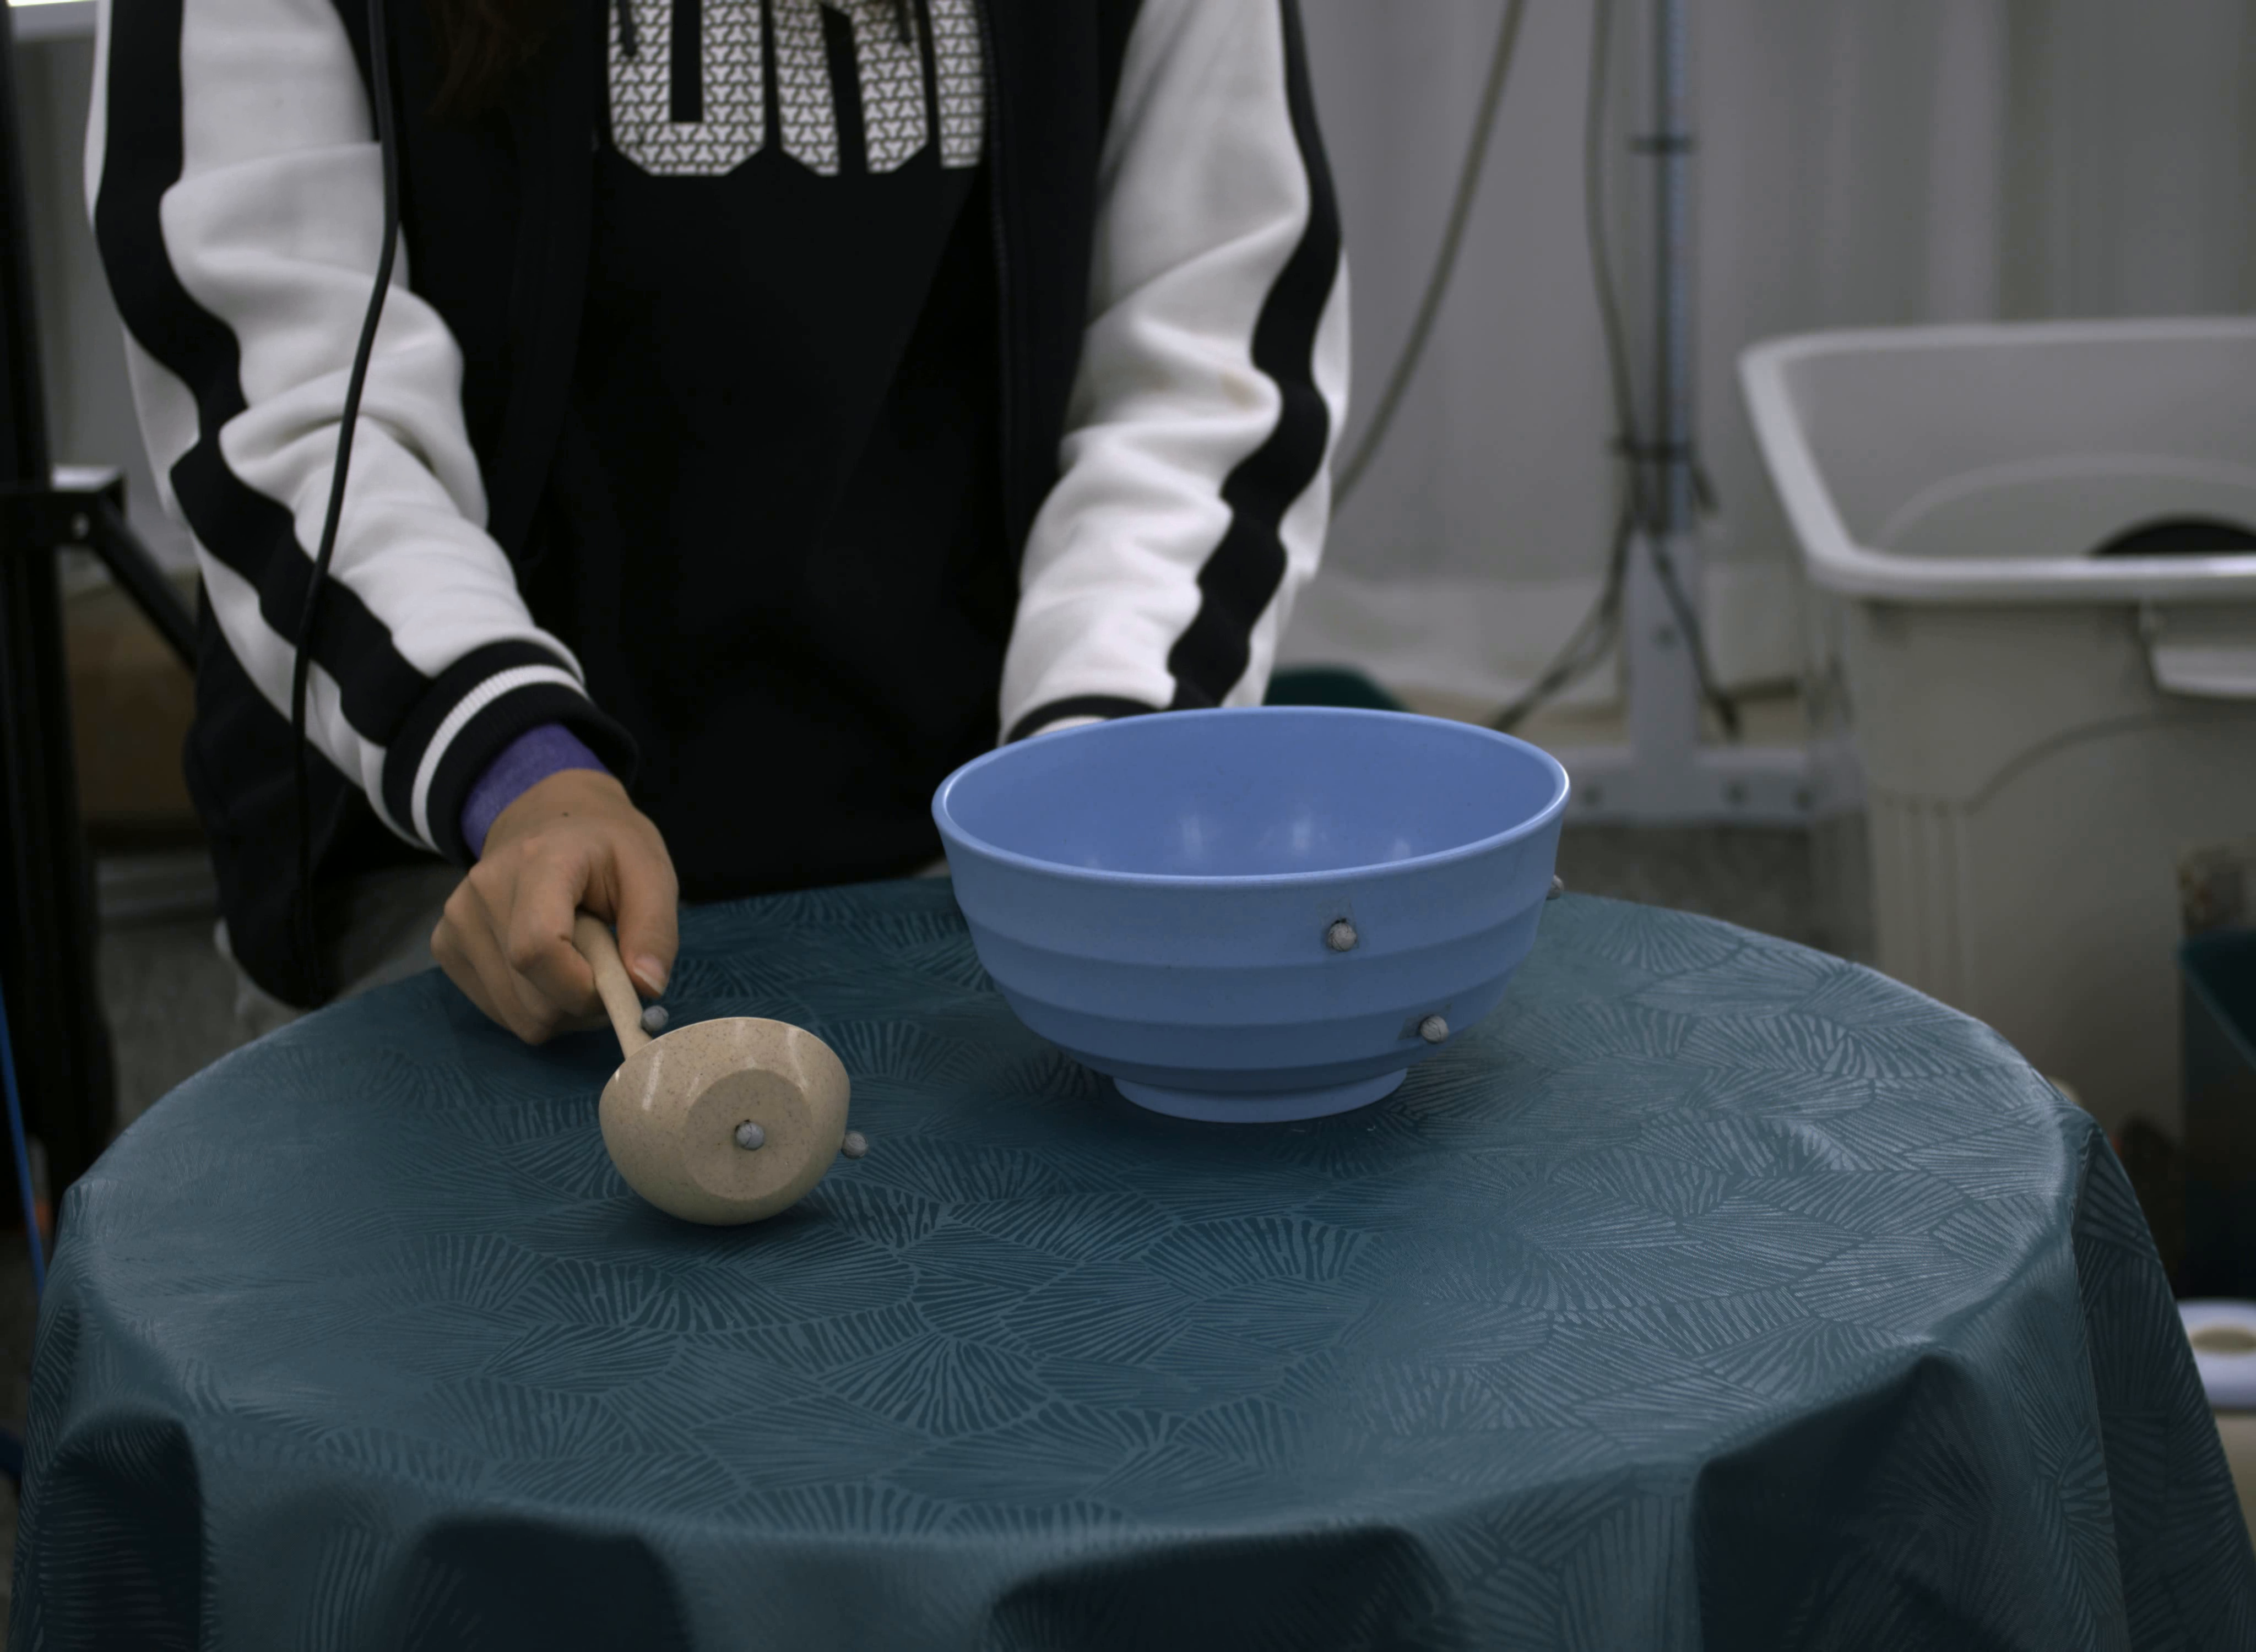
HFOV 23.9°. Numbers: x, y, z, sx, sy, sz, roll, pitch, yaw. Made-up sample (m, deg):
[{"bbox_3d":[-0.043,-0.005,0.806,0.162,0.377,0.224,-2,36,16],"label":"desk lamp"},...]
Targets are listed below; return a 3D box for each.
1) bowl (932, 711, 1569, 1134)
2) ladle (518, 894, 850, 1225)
[{"bbox_3d":[0.040,0.036,1.643,0.195,0.095,0.197,-4,16,0],"label":"bowl"},{"bbox_3d":[-0.145,0.042,1.627,0.070,0.073,0.259,9,20,-22],"label":"ladle"}]
